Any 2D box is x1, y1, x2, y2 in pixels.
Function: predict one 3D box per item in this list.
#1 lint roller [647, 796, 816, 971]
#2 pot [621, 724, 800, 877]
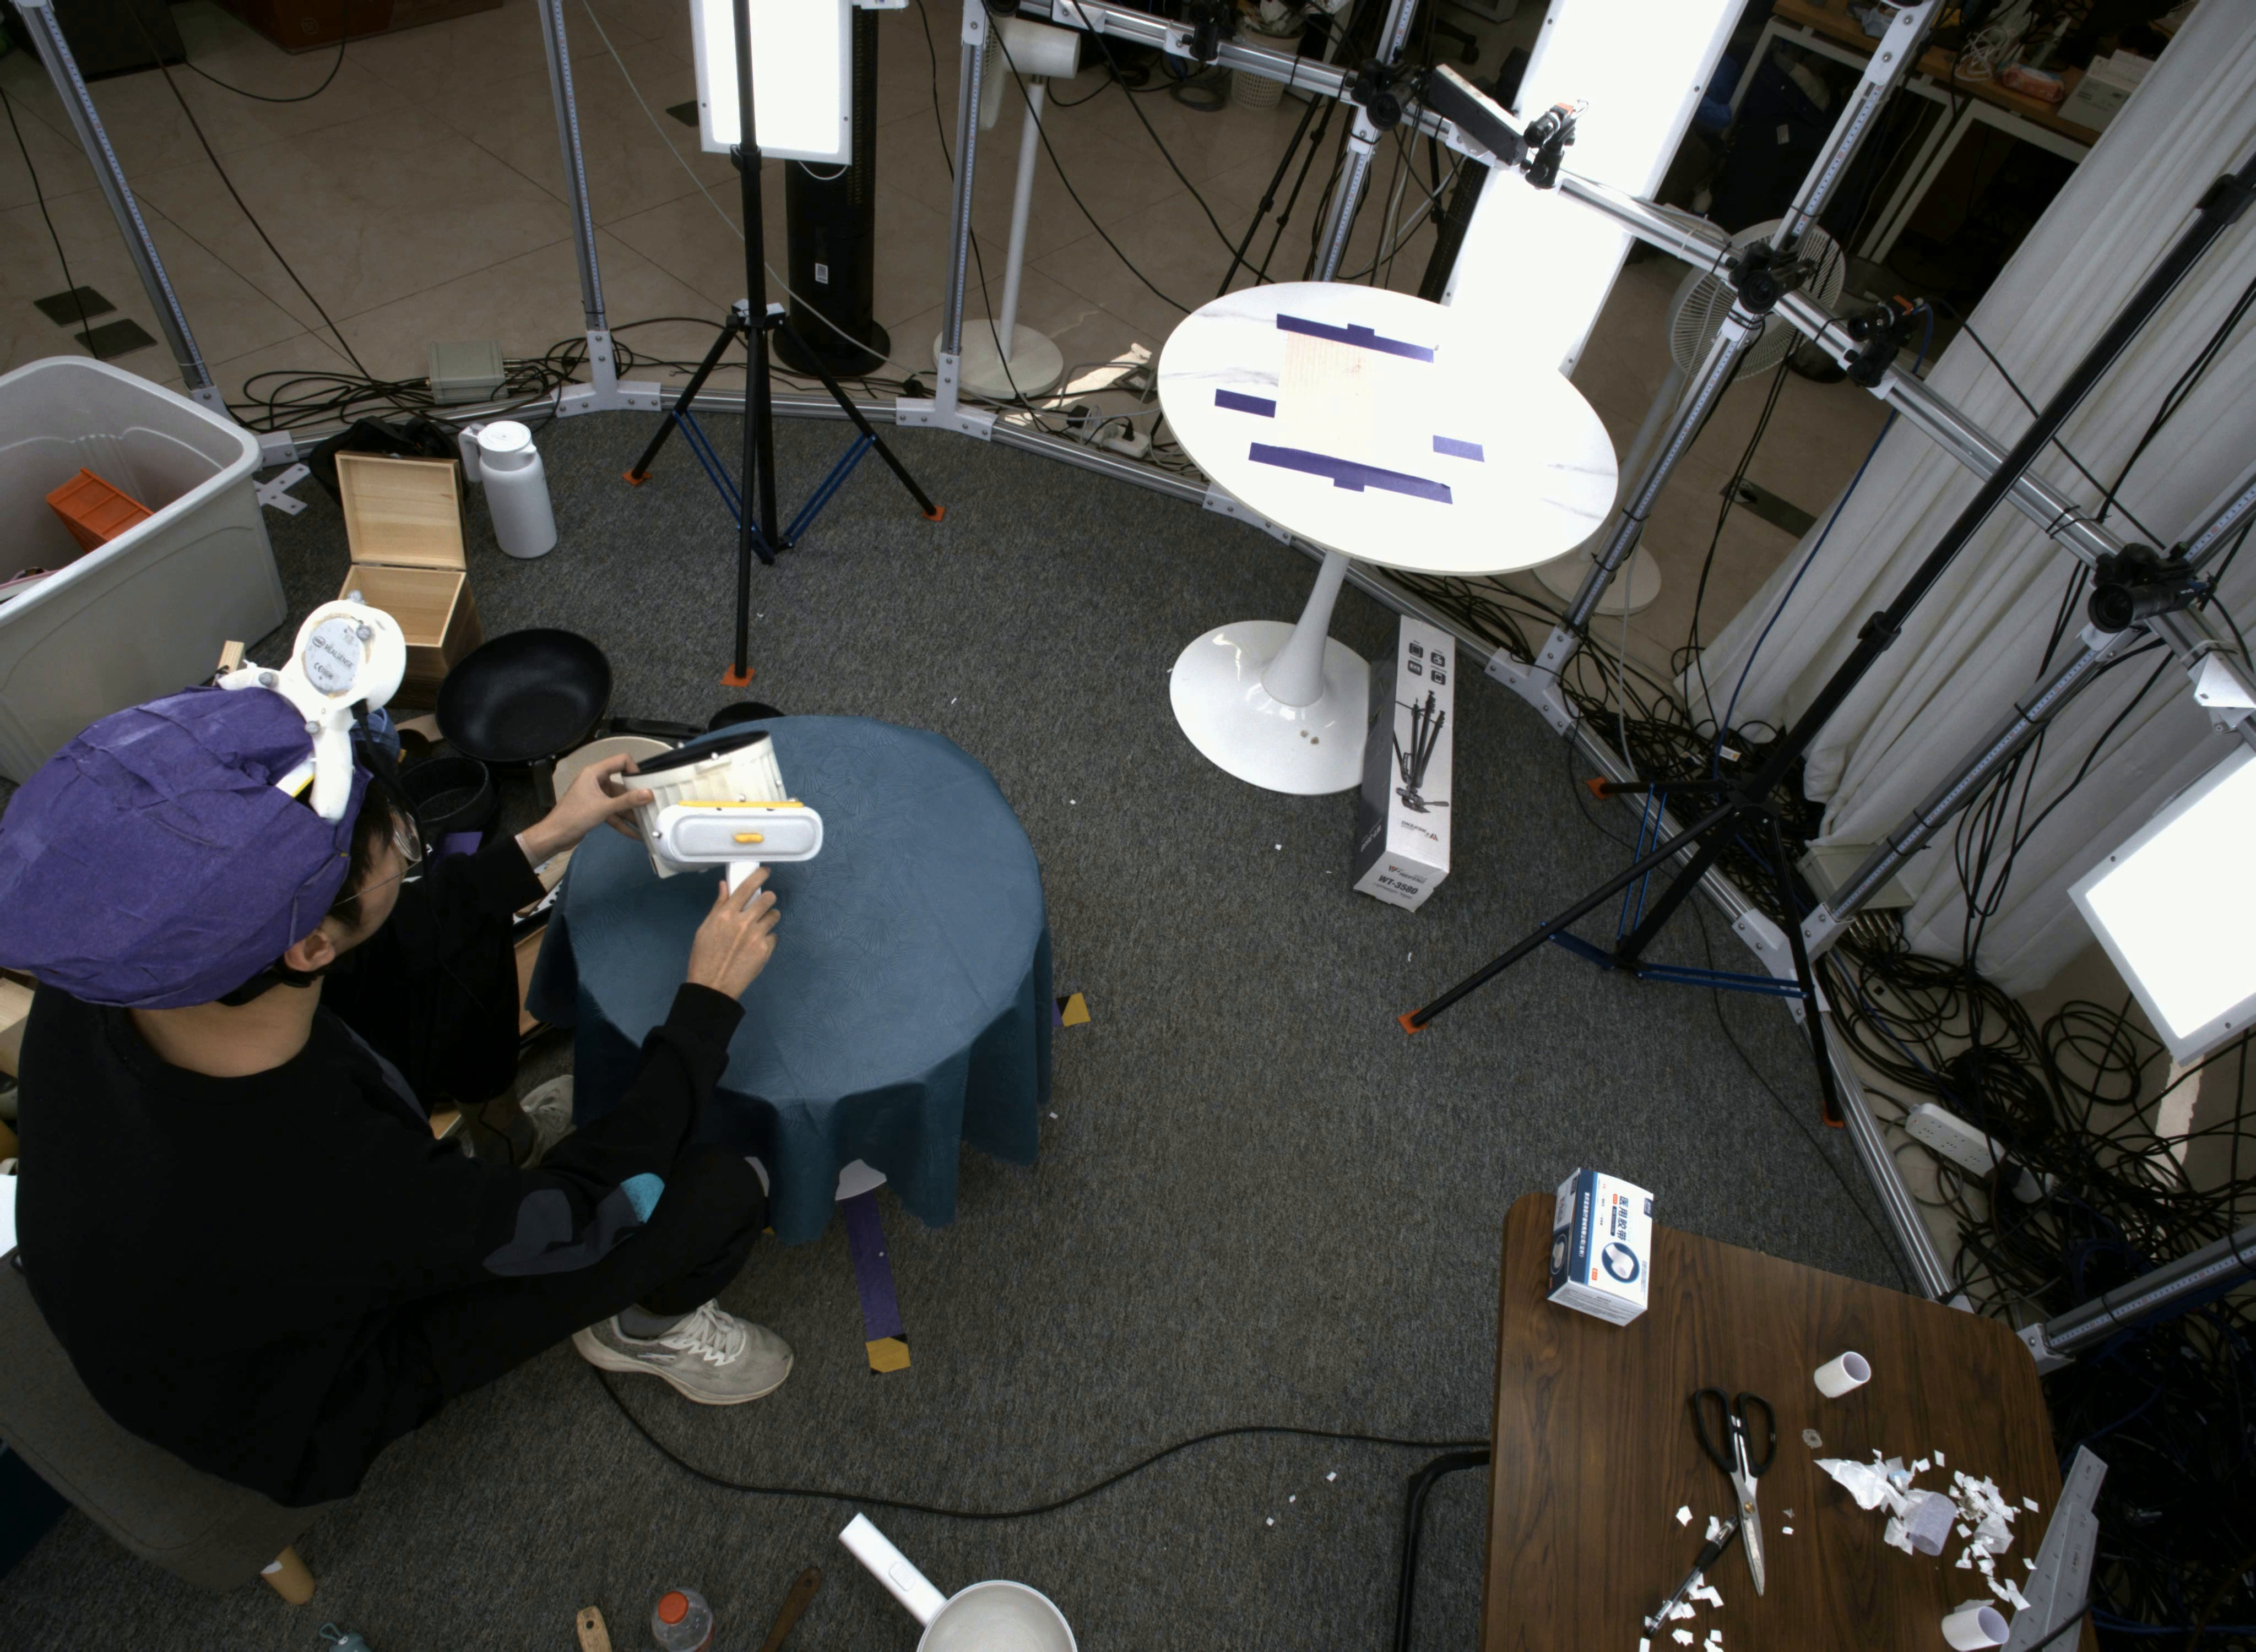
[{"bbox_3d":[-0.443,0.065,1.475,0.196,0.072,0.195,-5,94,-39],"label":"lint roller"},{"bbox_3d":[-0.507,-0.035,1.578,0.191,0.147,0.233,-25,19,-26],"label":"pot"}]
